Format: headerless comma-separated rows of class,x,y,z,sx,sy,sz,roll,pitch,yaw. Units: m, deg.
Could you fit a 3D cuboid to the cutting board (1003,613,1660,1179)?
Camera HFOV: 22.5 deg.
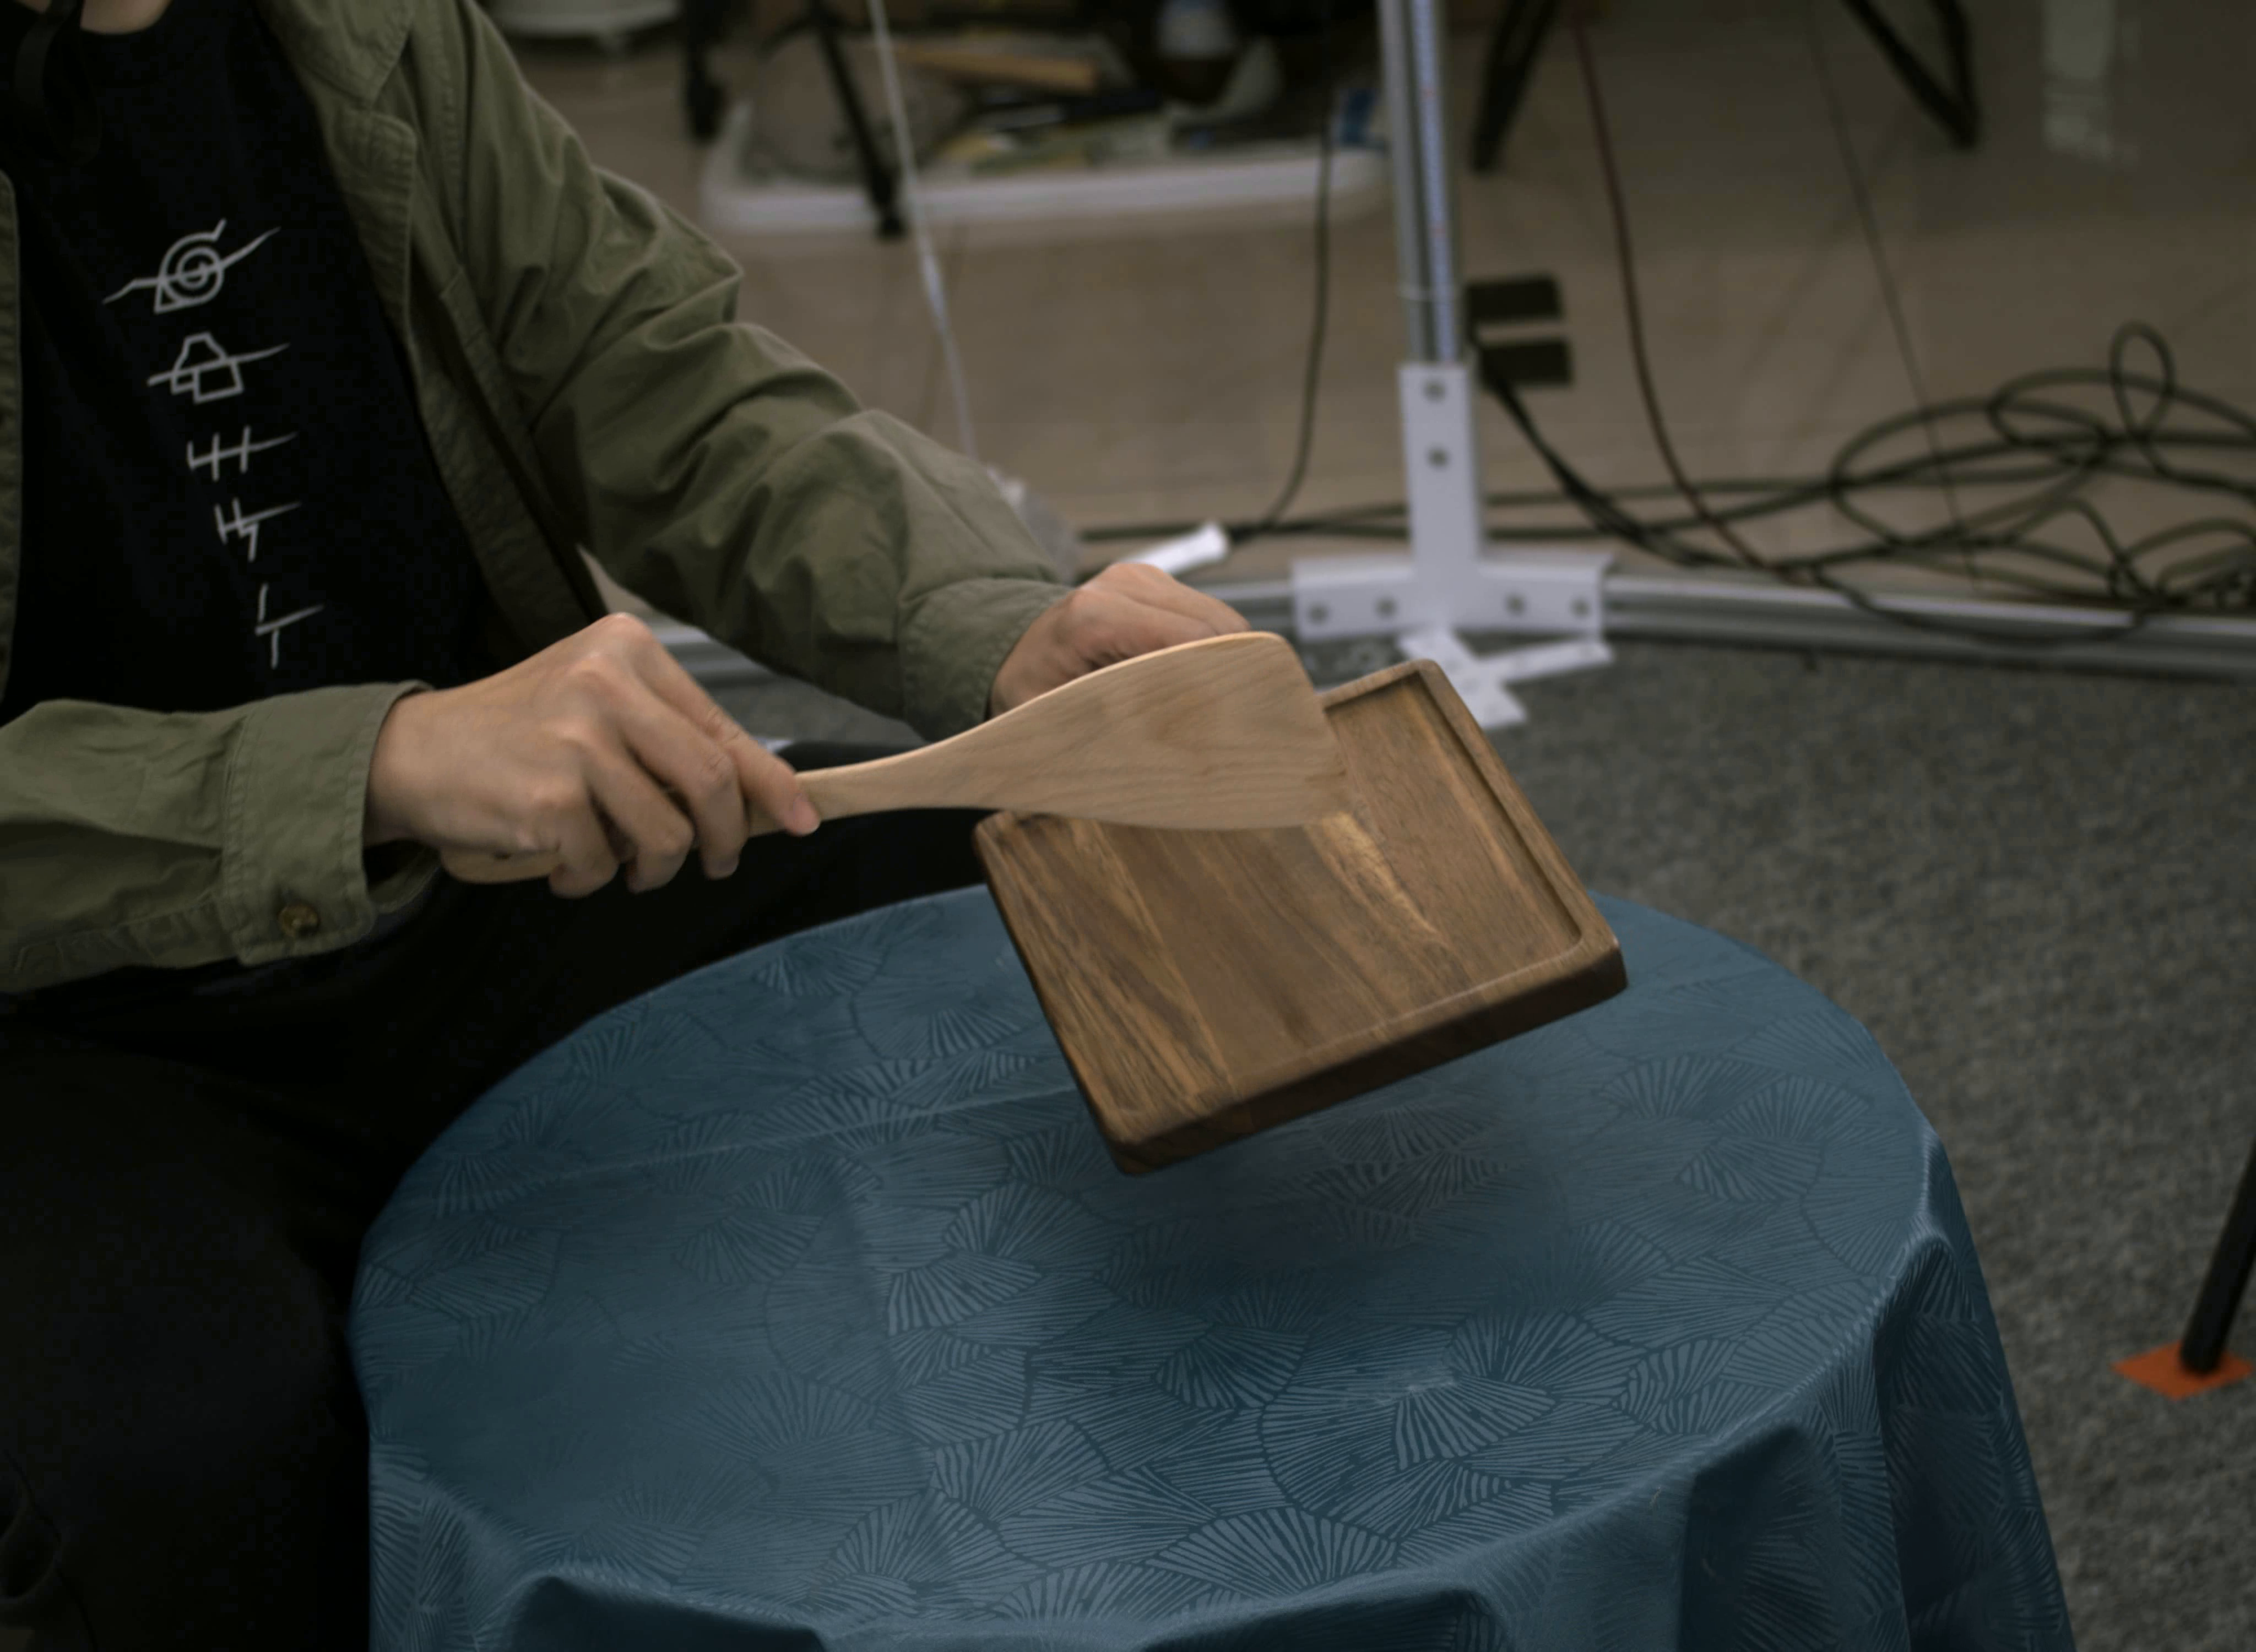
cutting board,0.060,0.005,2.156,0.201,0.023,0.346,-20,32,-2

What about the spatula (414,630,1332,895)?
spatula,-0.095,-0.012,1.999,0.327,0.081,0.016,-10,32,6
